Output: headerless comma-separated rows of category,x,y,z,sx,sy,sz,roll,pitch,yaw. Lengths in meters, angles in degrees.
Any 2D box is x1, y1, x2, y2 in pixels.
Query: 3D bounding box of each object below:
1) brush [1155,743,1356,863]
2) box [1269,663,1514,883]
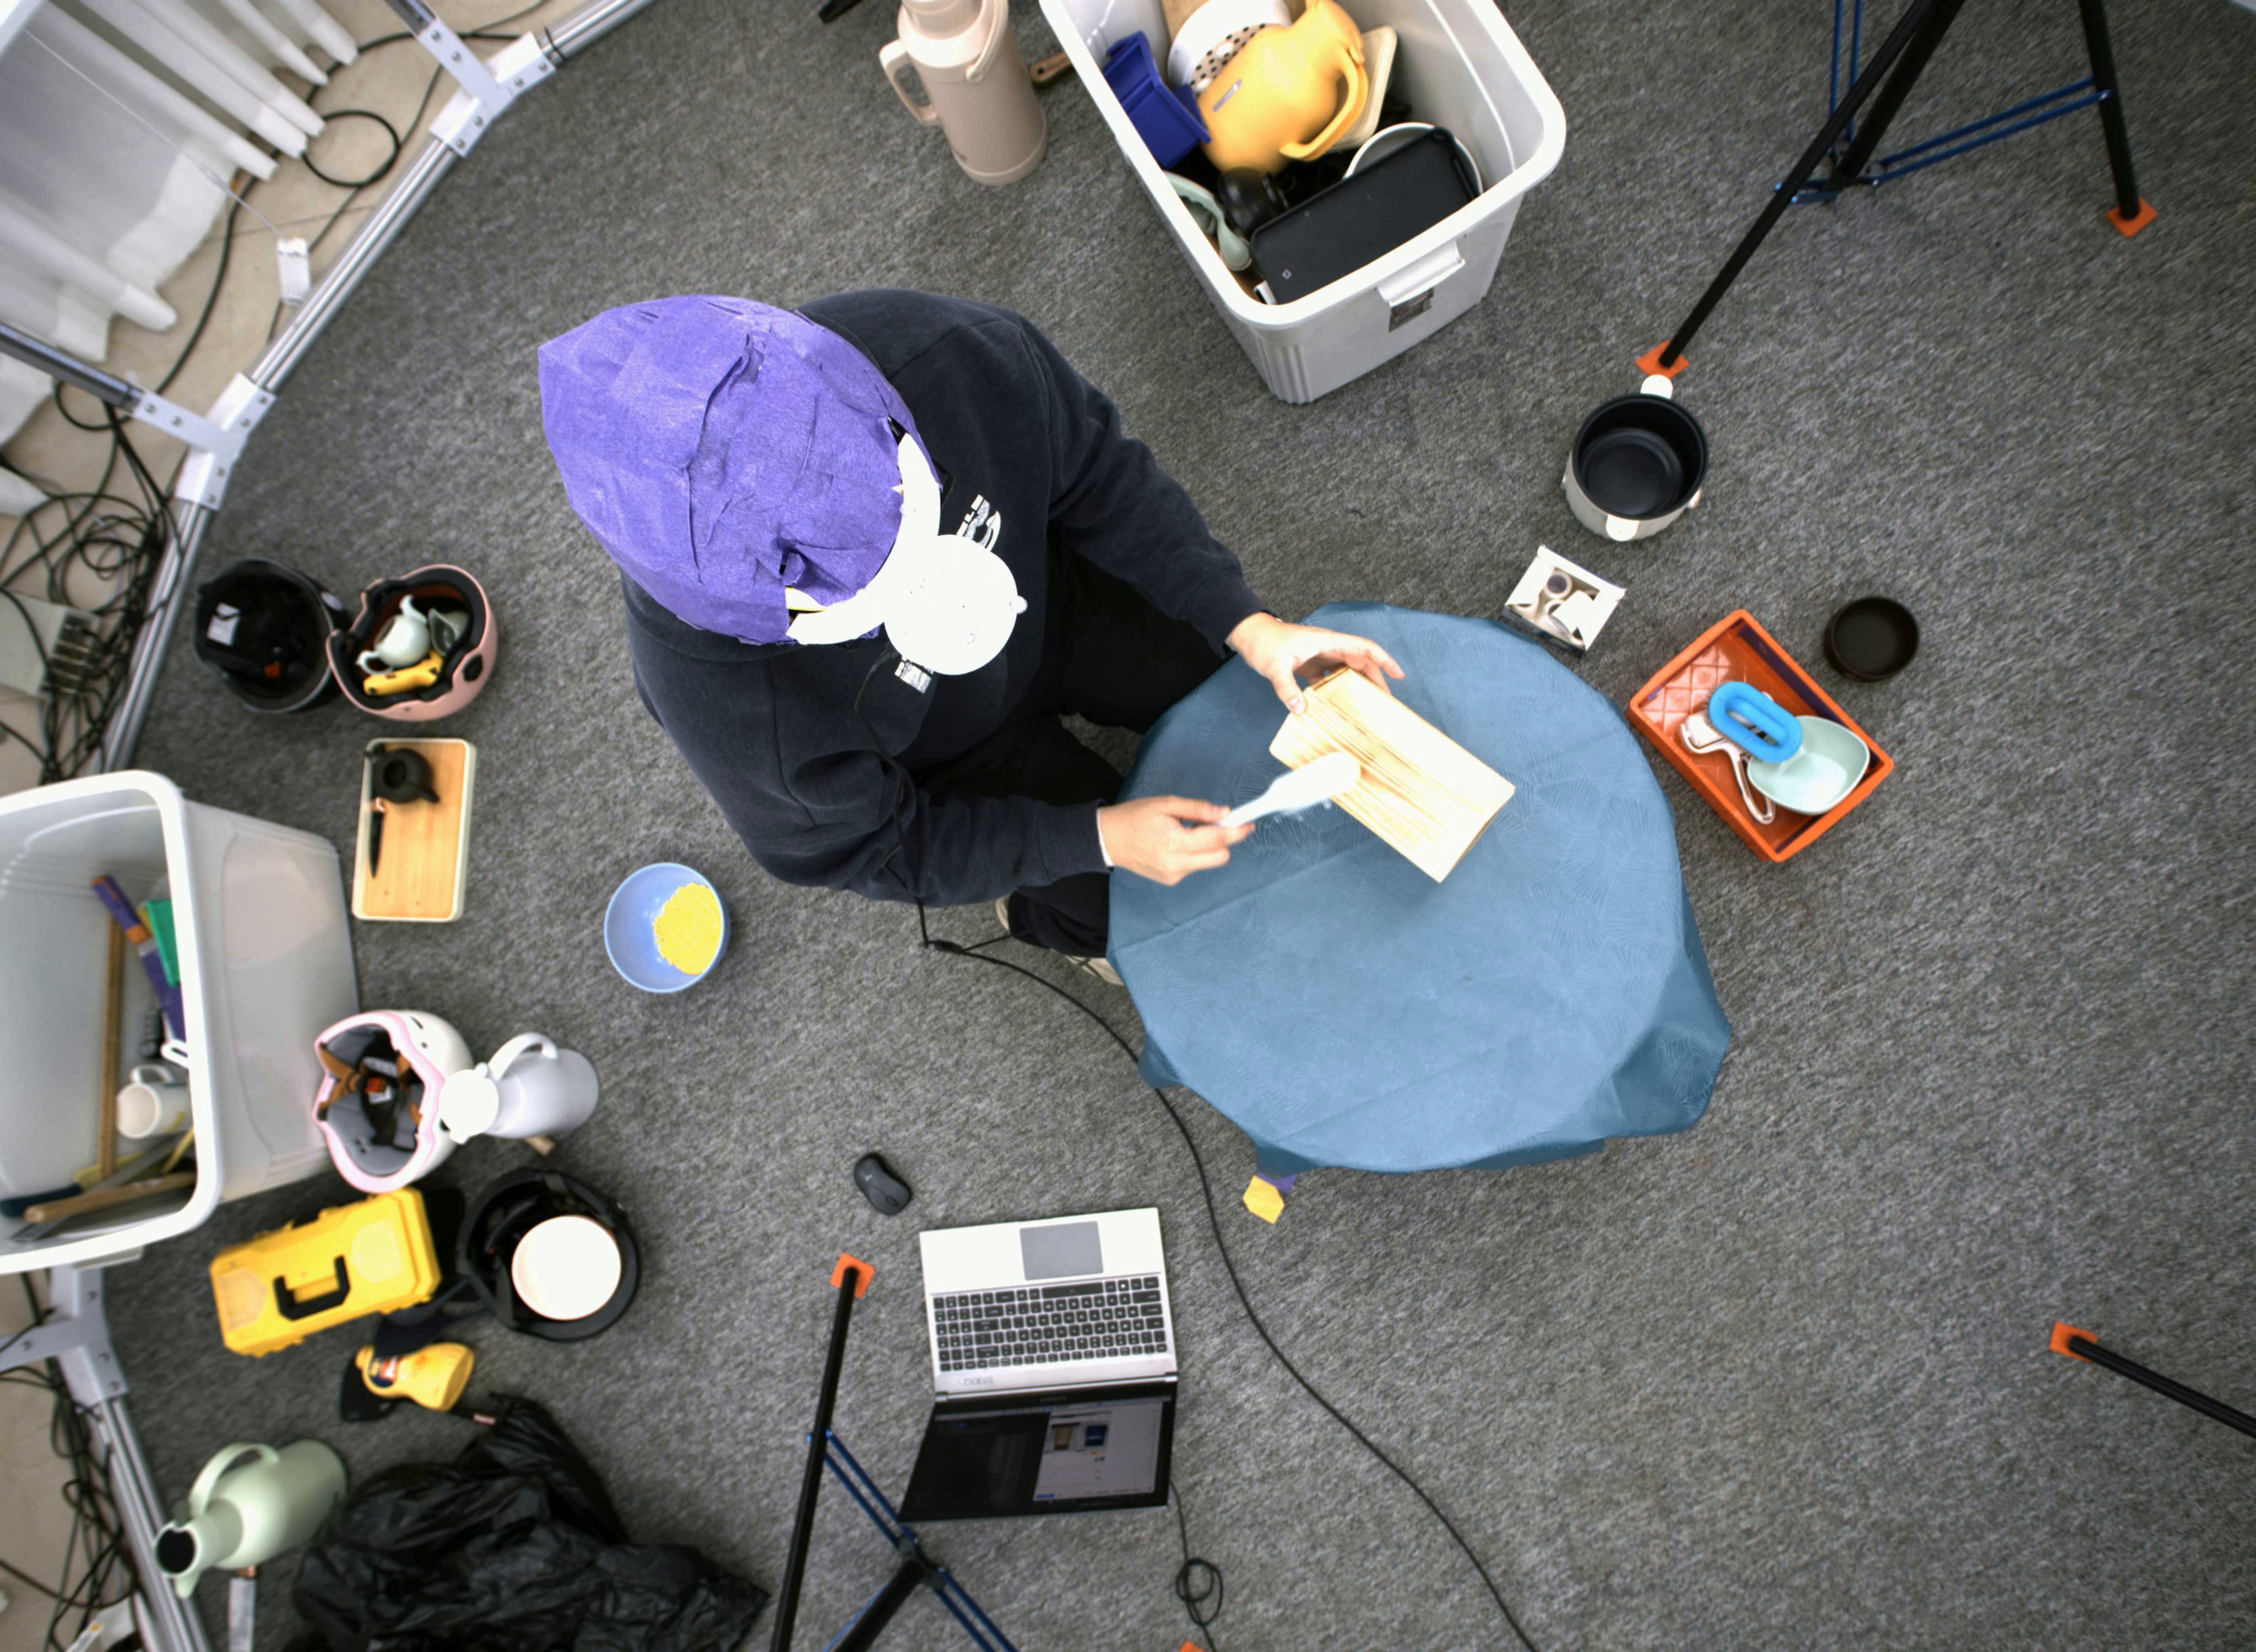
brush,0.122,-0.019,1.344,0.232,0.049,0.038,-30,93,28
box,0.258,-0.056,1.347,0.210,0.105,0.082,39,127,12
